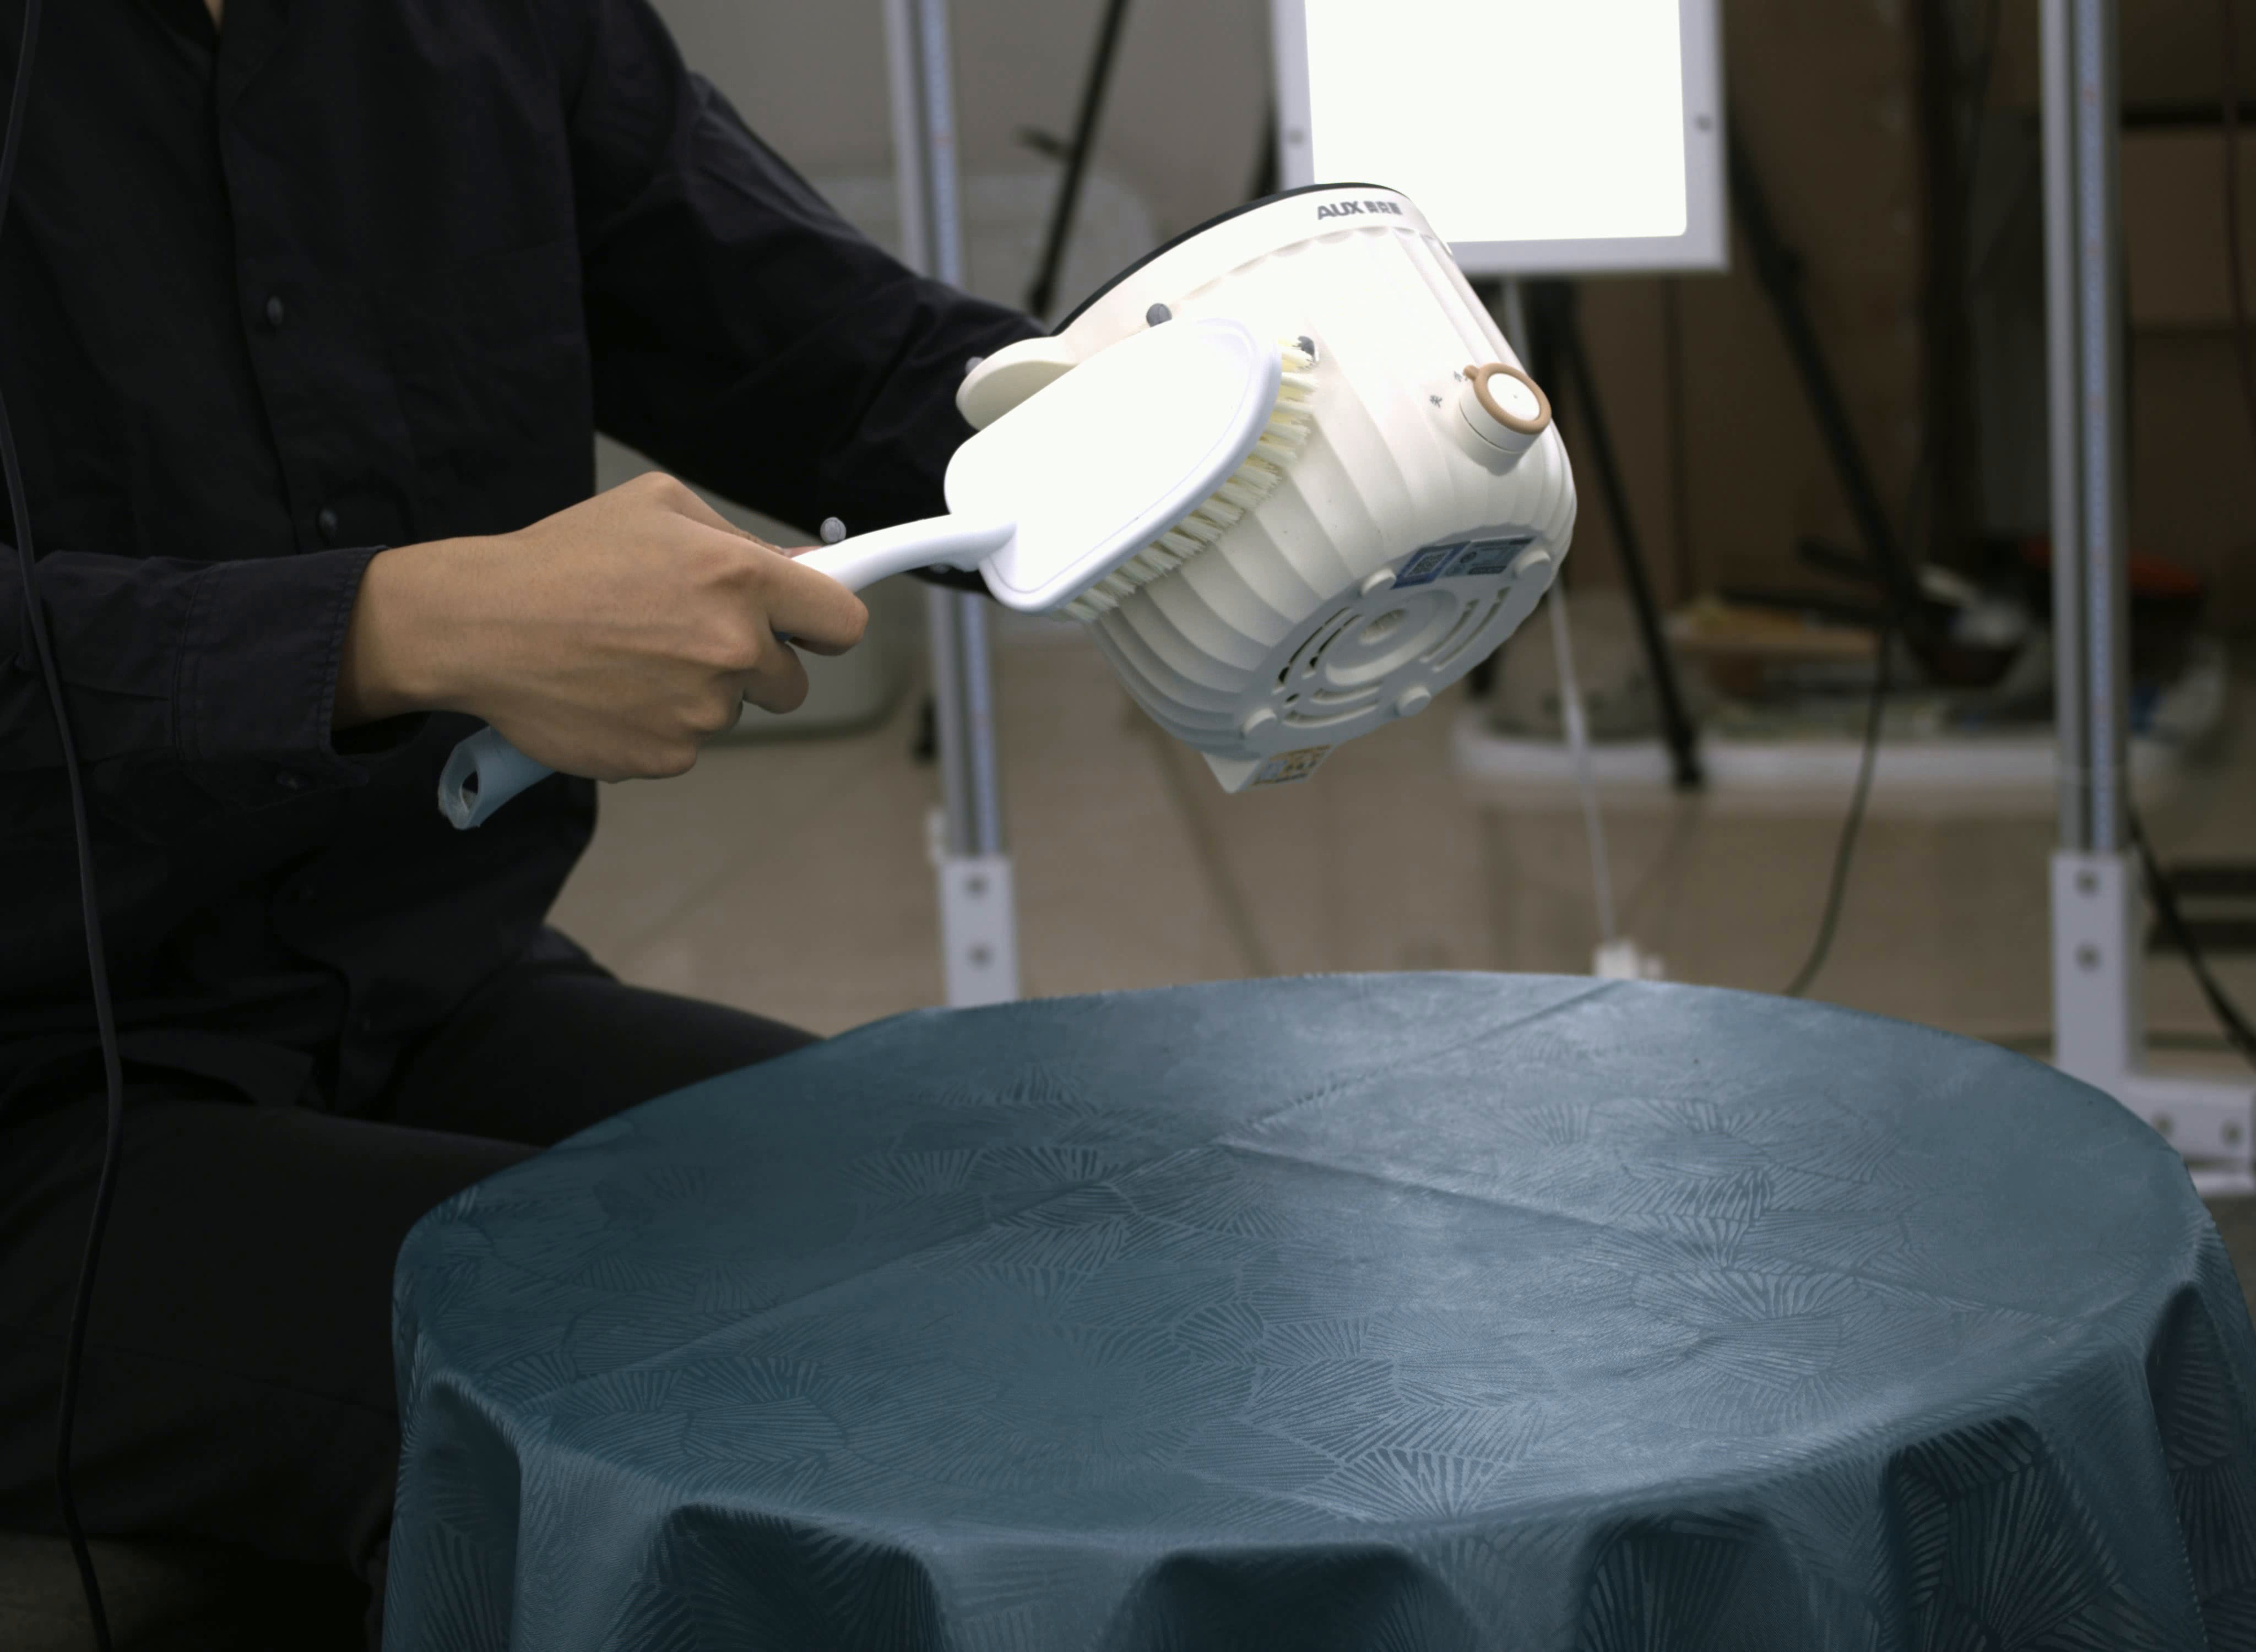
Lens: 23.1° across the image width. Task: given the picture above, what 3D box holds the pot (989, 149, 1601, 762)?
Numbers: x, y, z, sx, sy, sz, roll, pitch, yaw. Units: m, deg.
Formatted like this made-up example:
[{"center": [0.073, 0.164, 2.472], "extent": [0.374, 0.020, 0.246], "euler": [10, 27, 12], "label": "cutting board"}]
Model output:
[{"center": [0.074, -0.130, 1.926], "extent": [0.234, 0.194, 0.144], "euler": [-9, 57, -43], "label": "pot"}]

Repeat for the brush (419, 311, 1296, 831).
[{"center": [-0.089, -0.080, 1.847], "extent": [0.327, 0.084, 0.083], "euler": [-29, 35, 8], "label": "brush"}]
